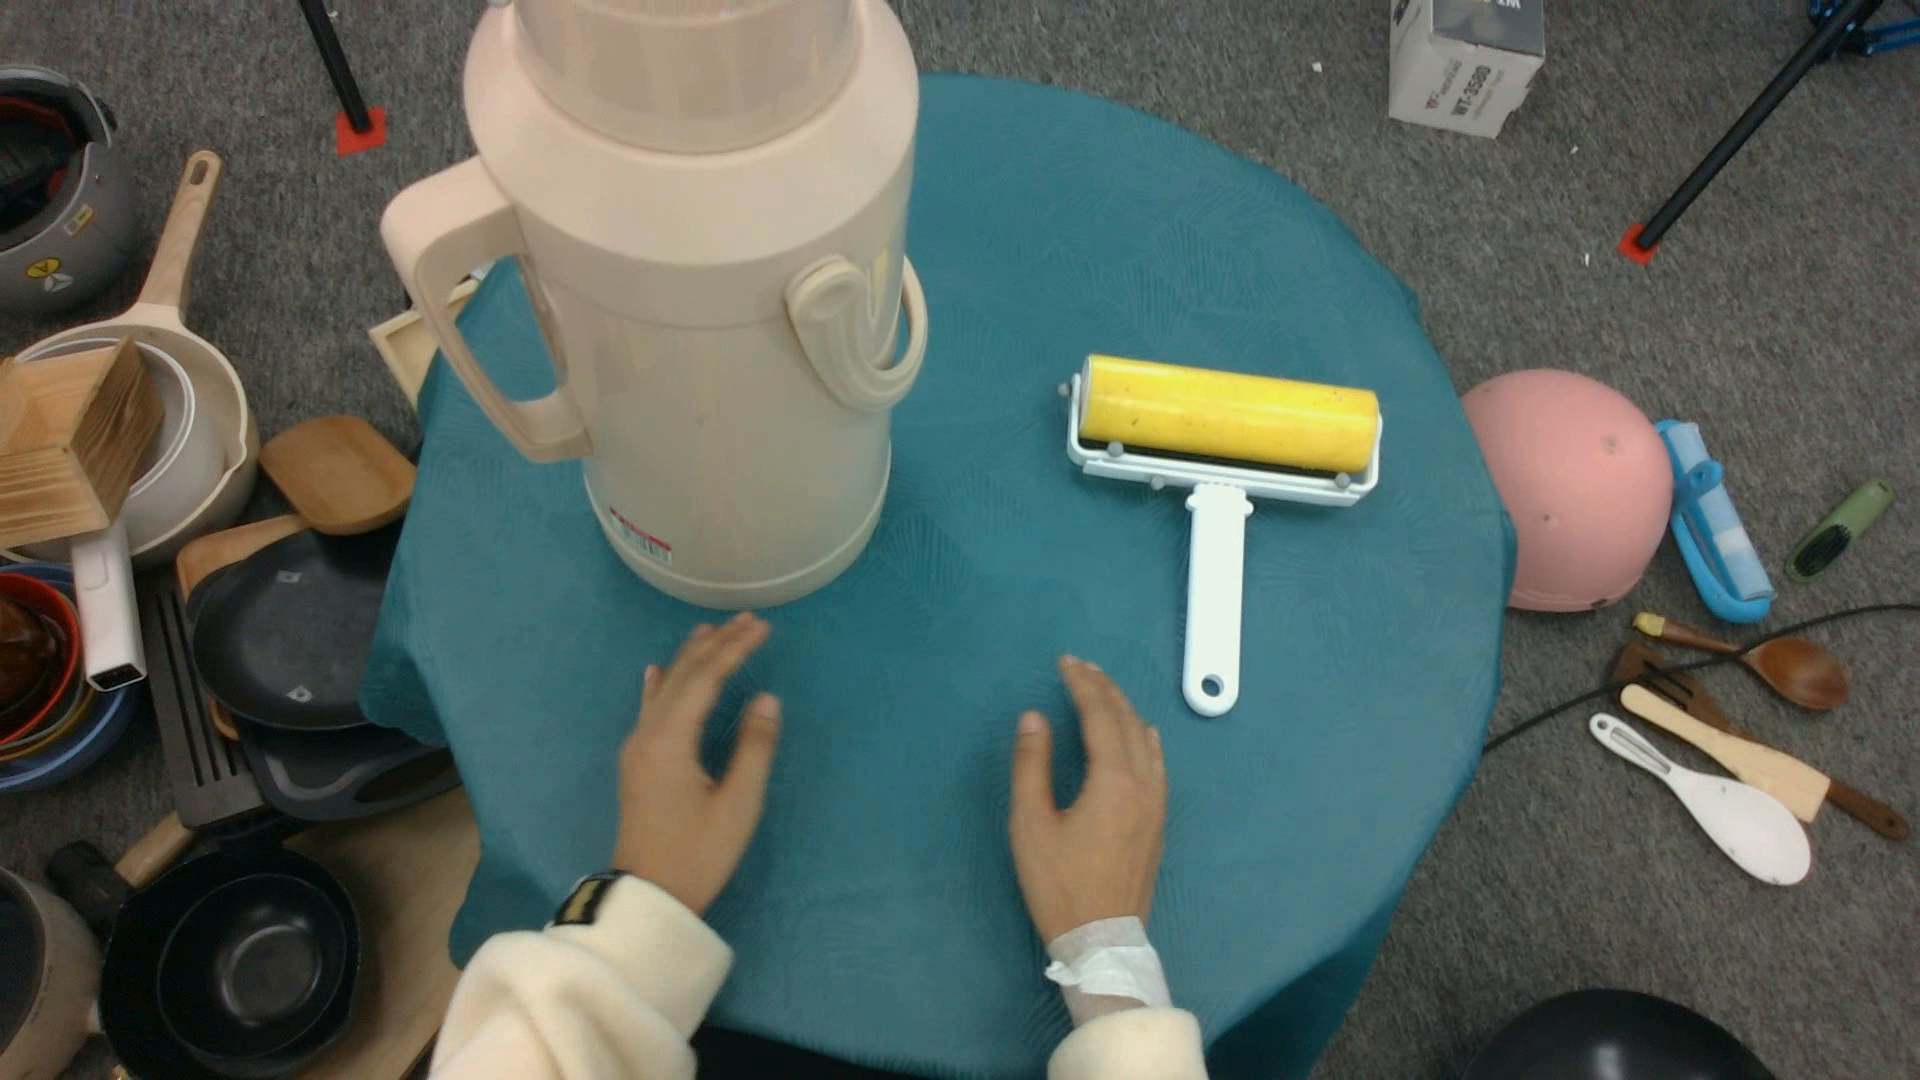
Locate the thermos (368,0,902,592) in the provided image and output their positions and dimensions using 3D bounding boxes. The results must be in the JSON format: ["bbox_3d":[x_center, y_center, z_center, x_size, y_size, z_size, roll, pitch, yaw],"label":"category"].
[{"bbox_3d":[-0.120,-0.120,0.568,0.207,0.404,0.175,-32,73,-19],"label":"thermos"}]

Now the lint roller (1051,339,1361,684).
[{"bbox_3d":[0.134,-0.019,0.740,0.174,0.051,0.193,6,57,-4],"label":"lint roller"}]
